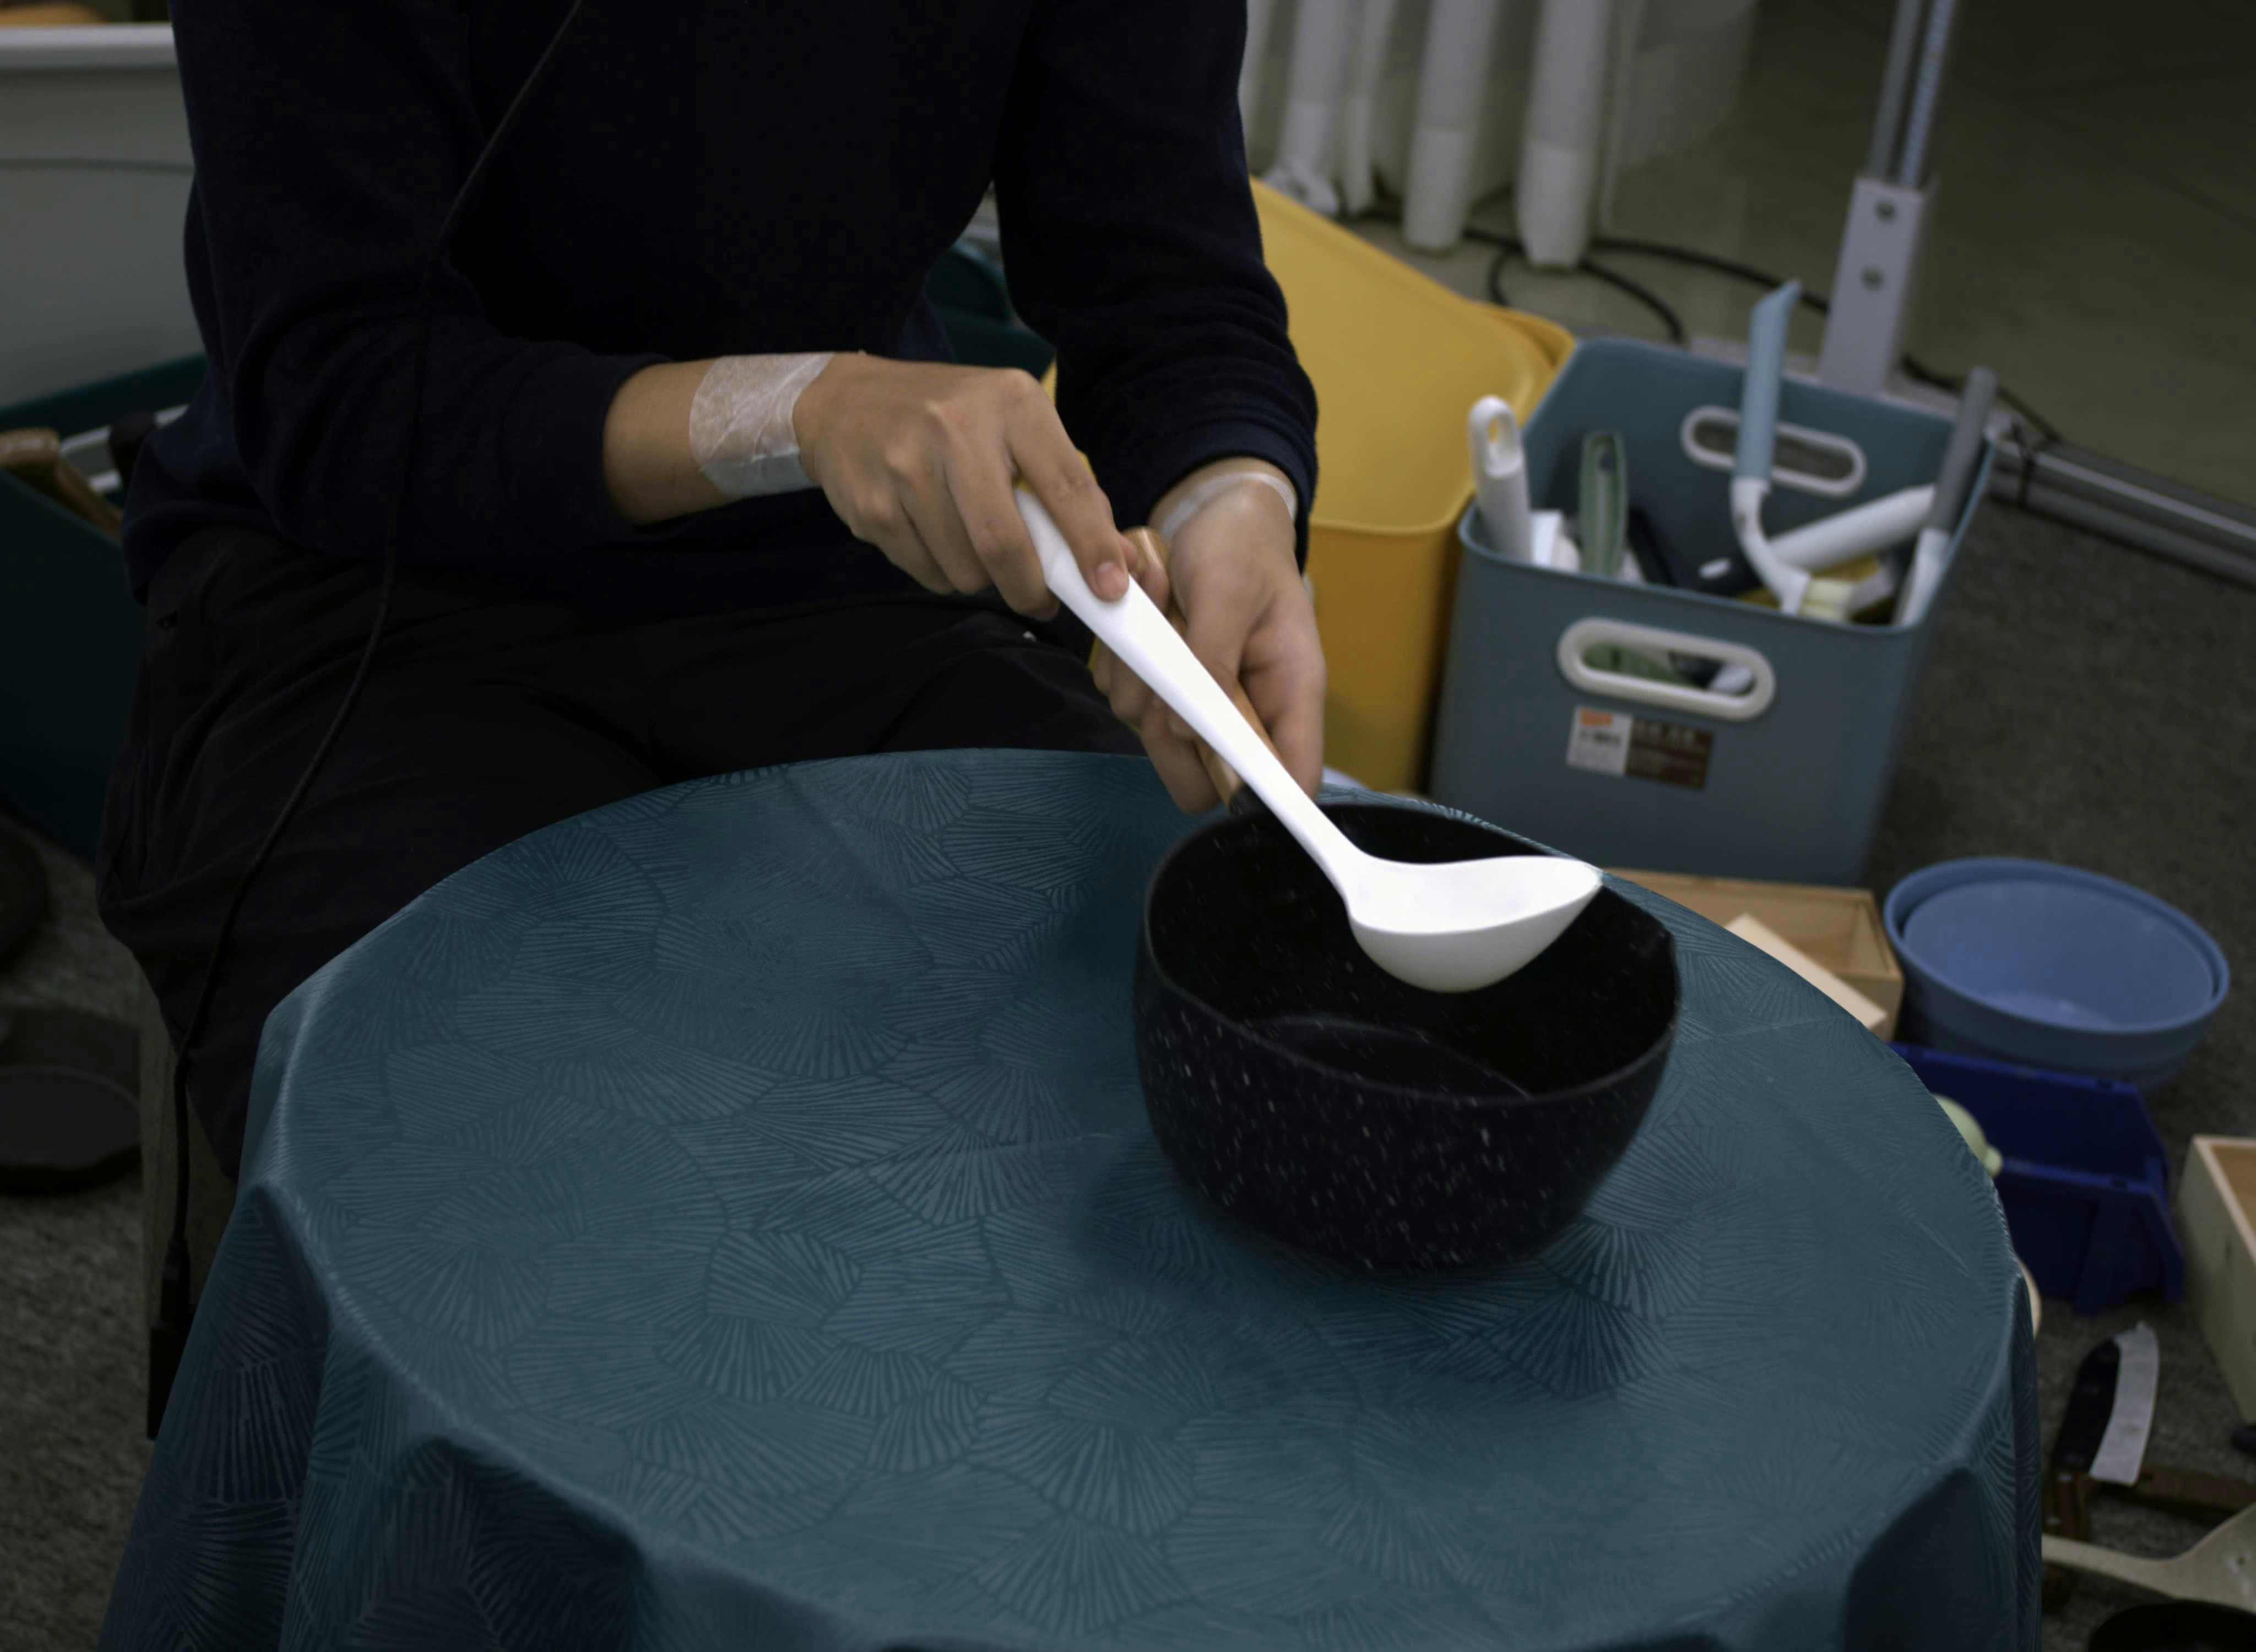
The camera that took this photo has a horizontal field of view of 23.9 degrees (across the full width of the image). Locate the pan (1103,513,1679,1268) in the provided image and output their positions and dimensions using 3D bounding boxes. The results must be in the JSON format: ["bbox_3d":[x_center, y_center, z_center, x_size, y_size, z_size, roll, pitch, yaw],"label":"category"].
[{"bbox_3d":[0.056,0.020,1.858,0.206,0.108,0.346,-5,35,-26],"label":"pan"}]

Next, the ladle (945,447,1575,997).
[{"bbox_3d":[0.036,-0.044,1.840,0.090,0.069,0.295,-23,56,-31],"label":"ladle"}]
